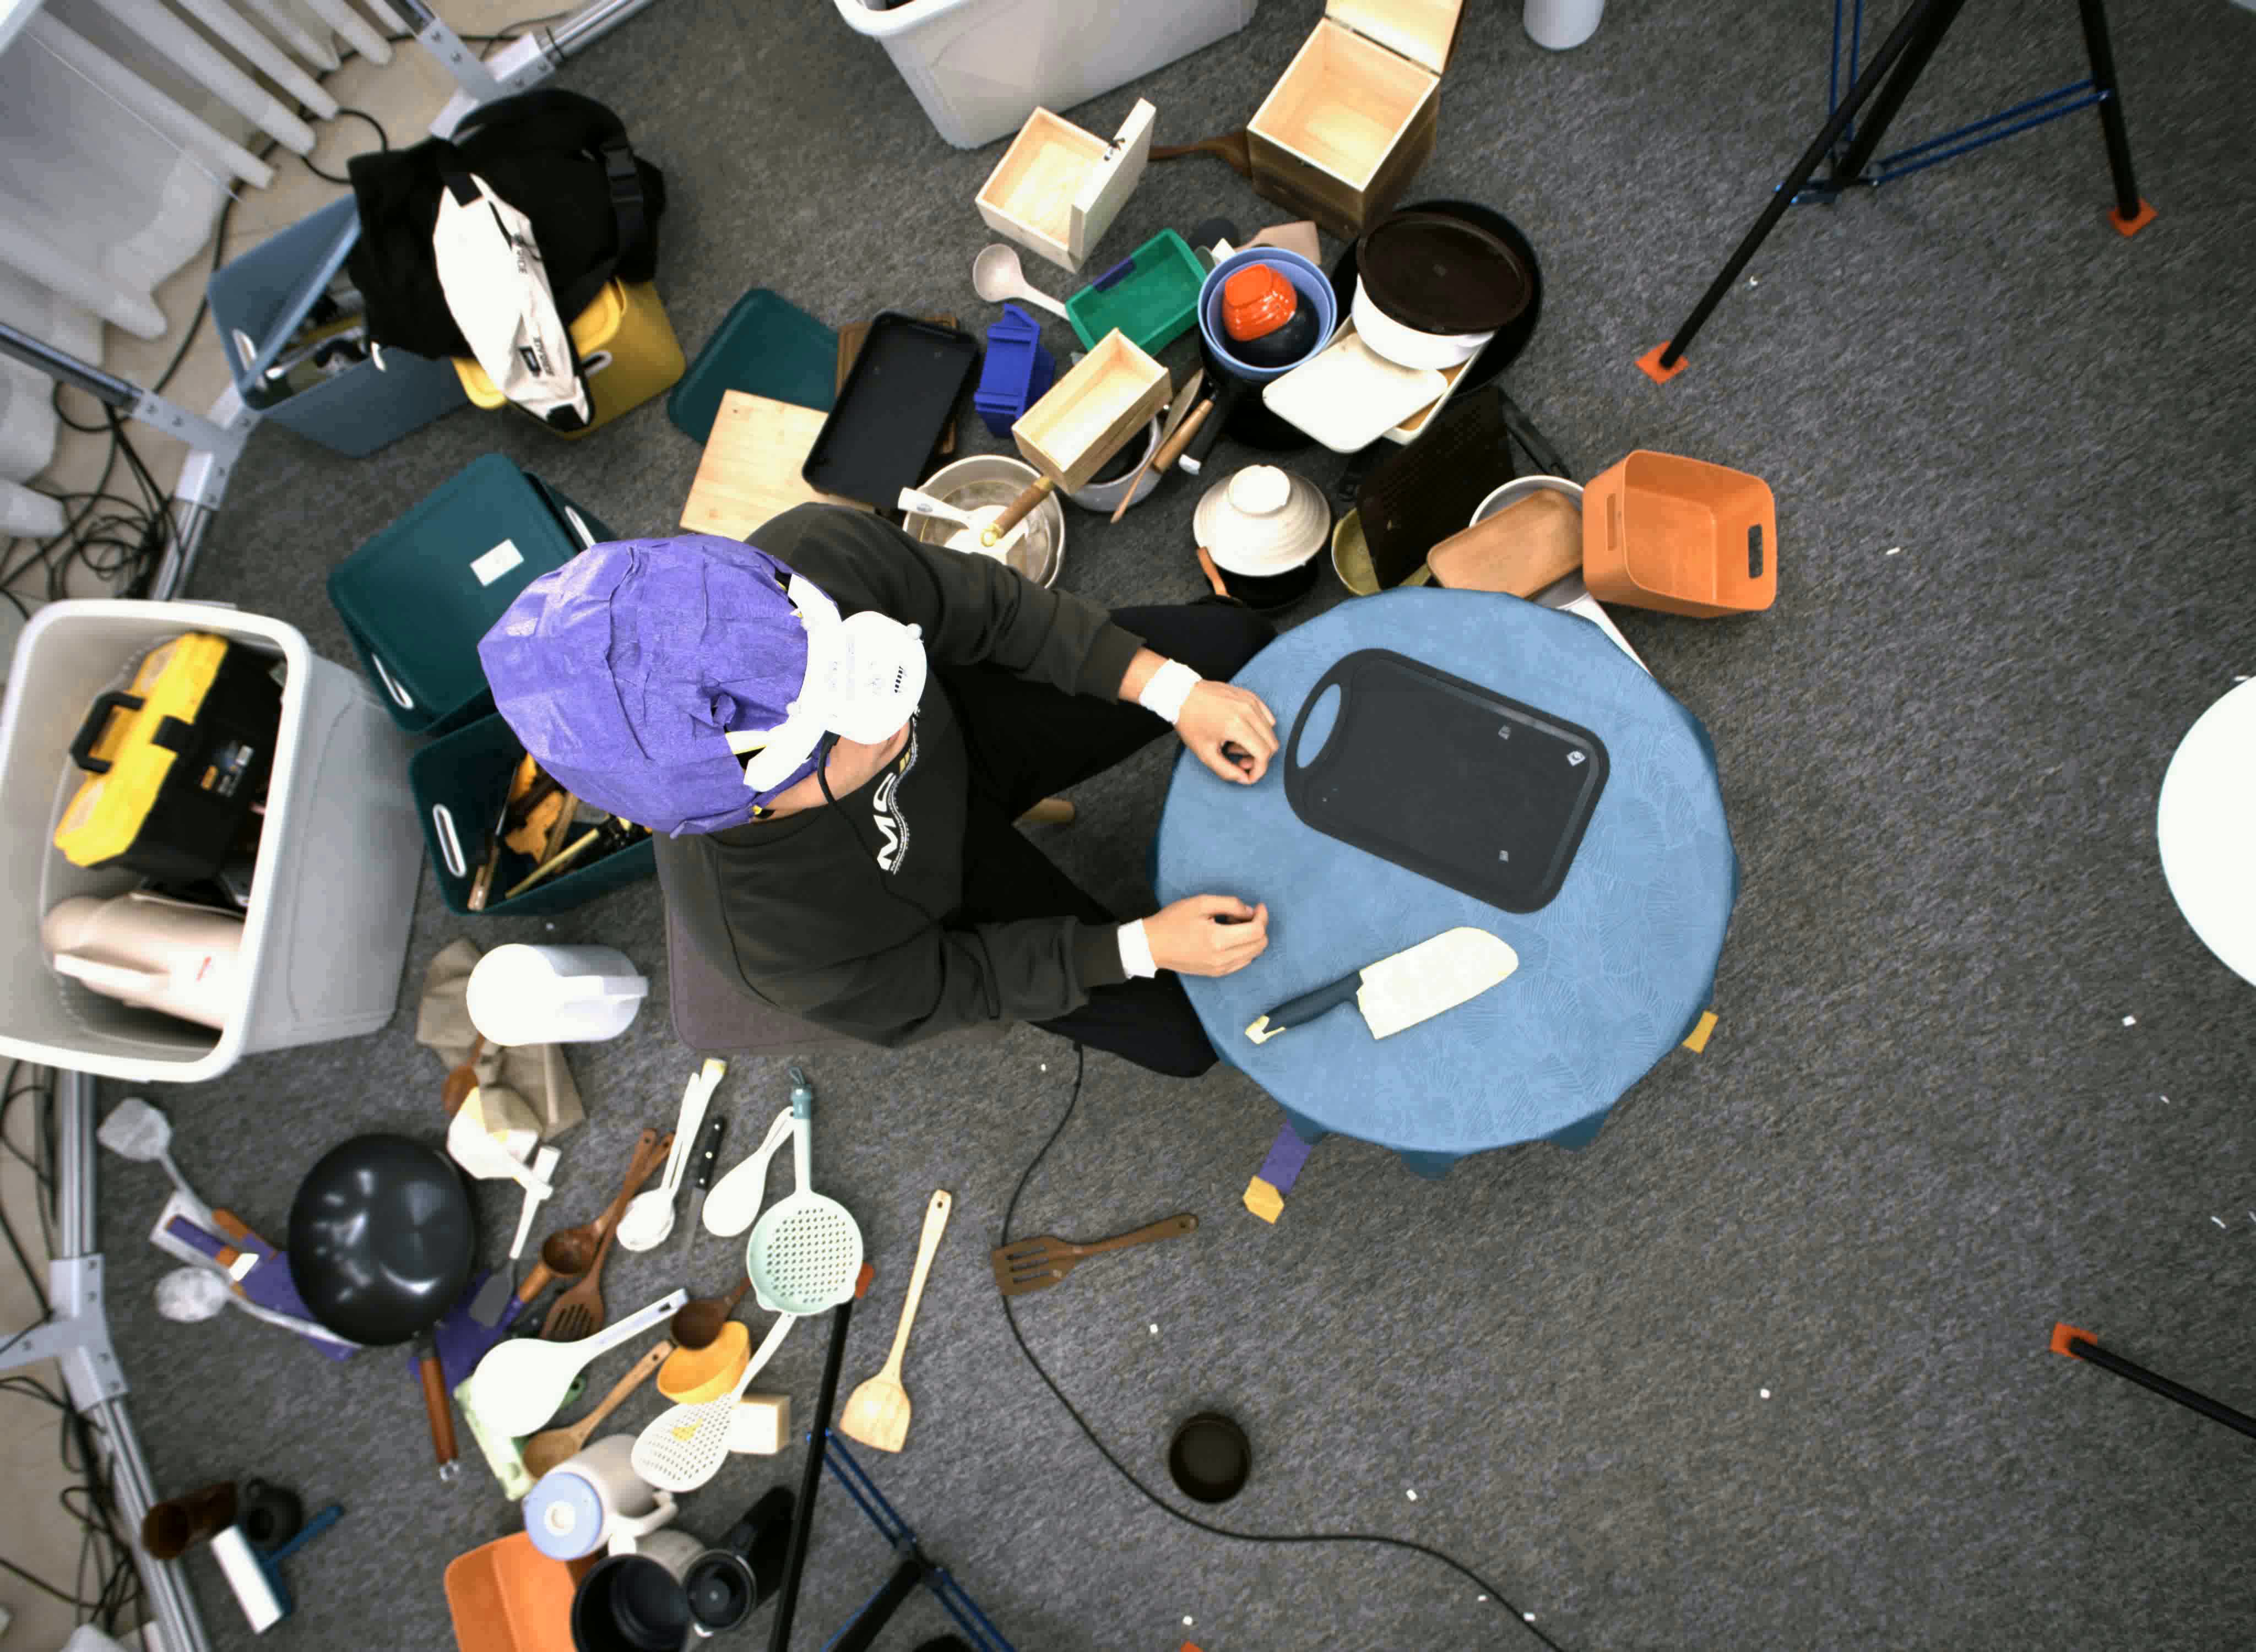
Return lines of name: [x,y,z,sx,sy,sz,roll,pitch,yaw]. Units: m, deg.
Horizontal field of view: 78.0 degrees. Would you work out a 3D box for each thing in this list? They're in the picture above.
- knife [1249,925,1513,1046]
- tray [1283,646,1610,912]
knife: [0.266,0.177,1.448,0.291,0.027,0.080,-22,81,8]
tray: [0.327,-0.057,1.452,0.325,0.010,0.211,24,92,11]
